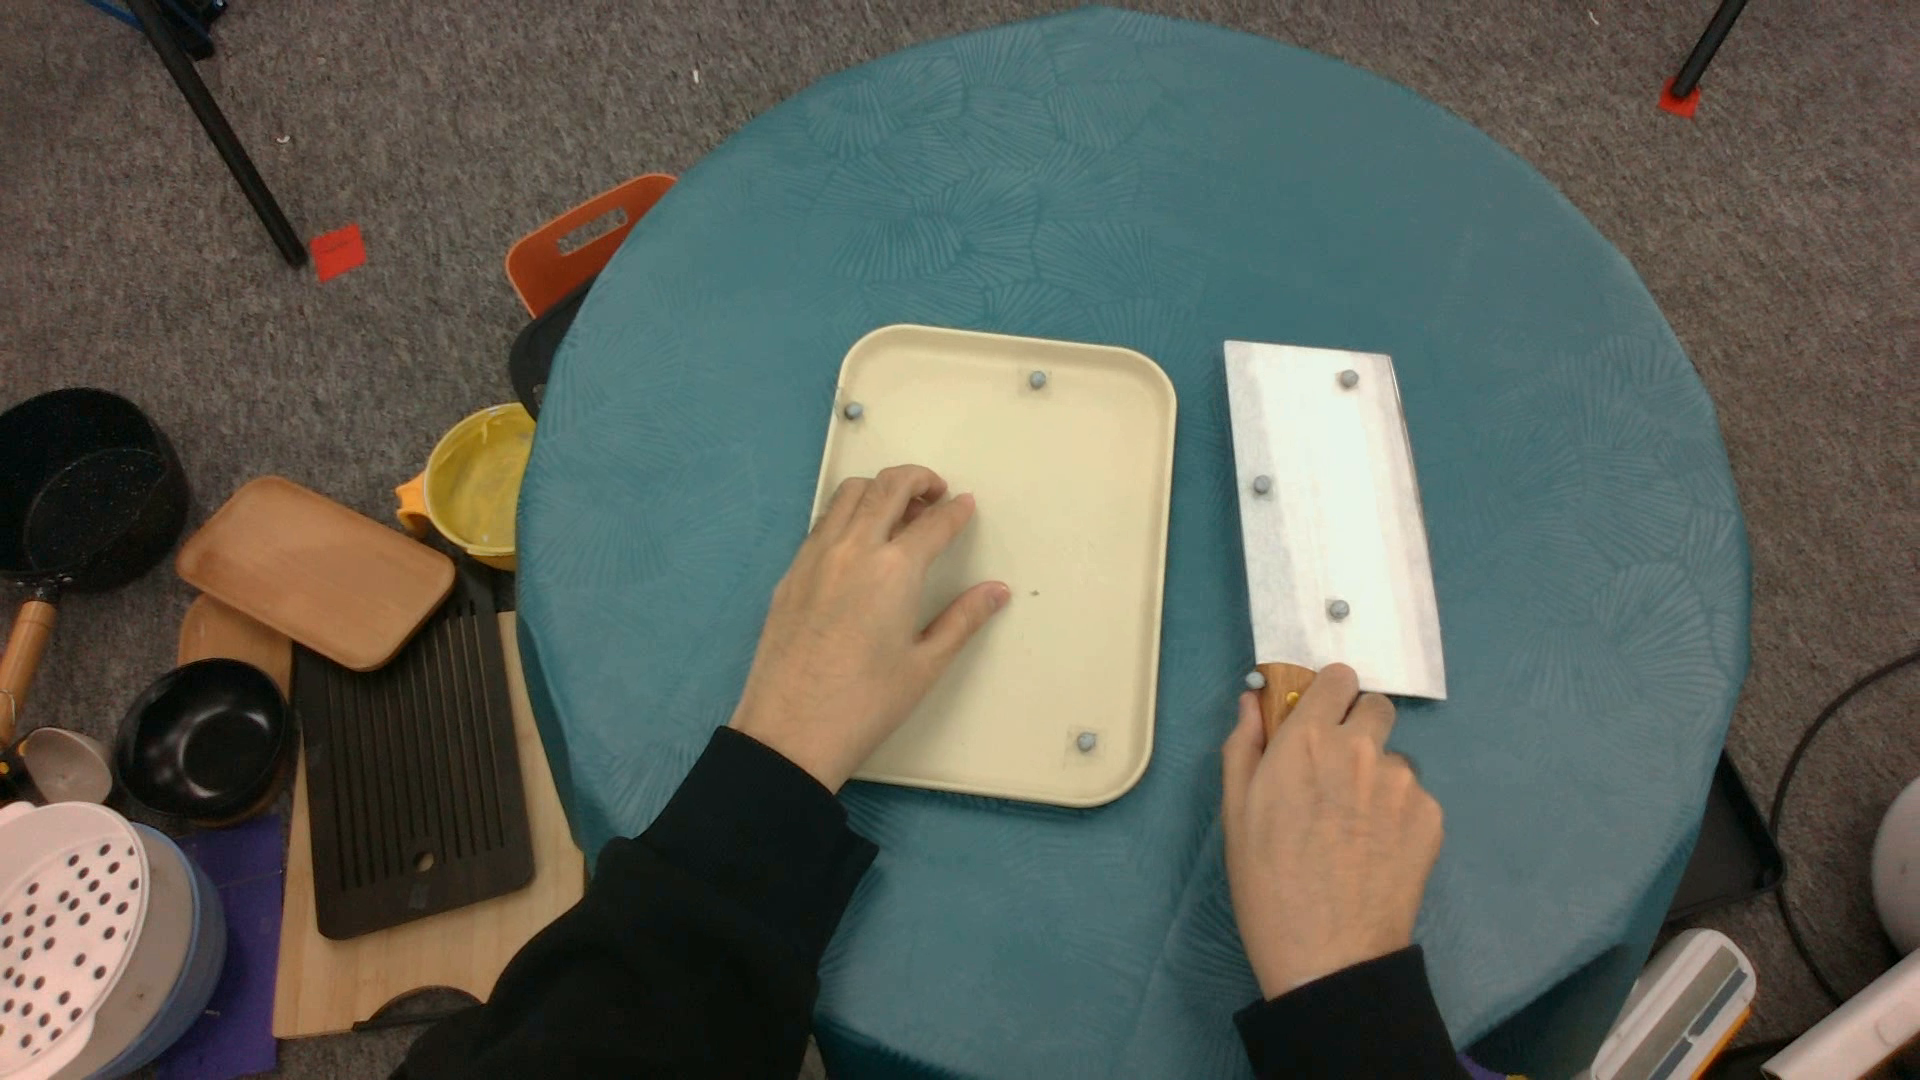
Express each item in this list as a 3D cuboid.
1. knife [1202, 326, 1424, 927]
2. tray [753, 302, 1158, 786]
[{"bbox_3d":[0.167,0.025,0.638,0.093,0.021,0.307,4,61,-8],"label":"knife"},{"bbox_3d":[0.003,-0.005,0.653,0.171,0.017,0.240,8,64,1],"label":"tray"}]
